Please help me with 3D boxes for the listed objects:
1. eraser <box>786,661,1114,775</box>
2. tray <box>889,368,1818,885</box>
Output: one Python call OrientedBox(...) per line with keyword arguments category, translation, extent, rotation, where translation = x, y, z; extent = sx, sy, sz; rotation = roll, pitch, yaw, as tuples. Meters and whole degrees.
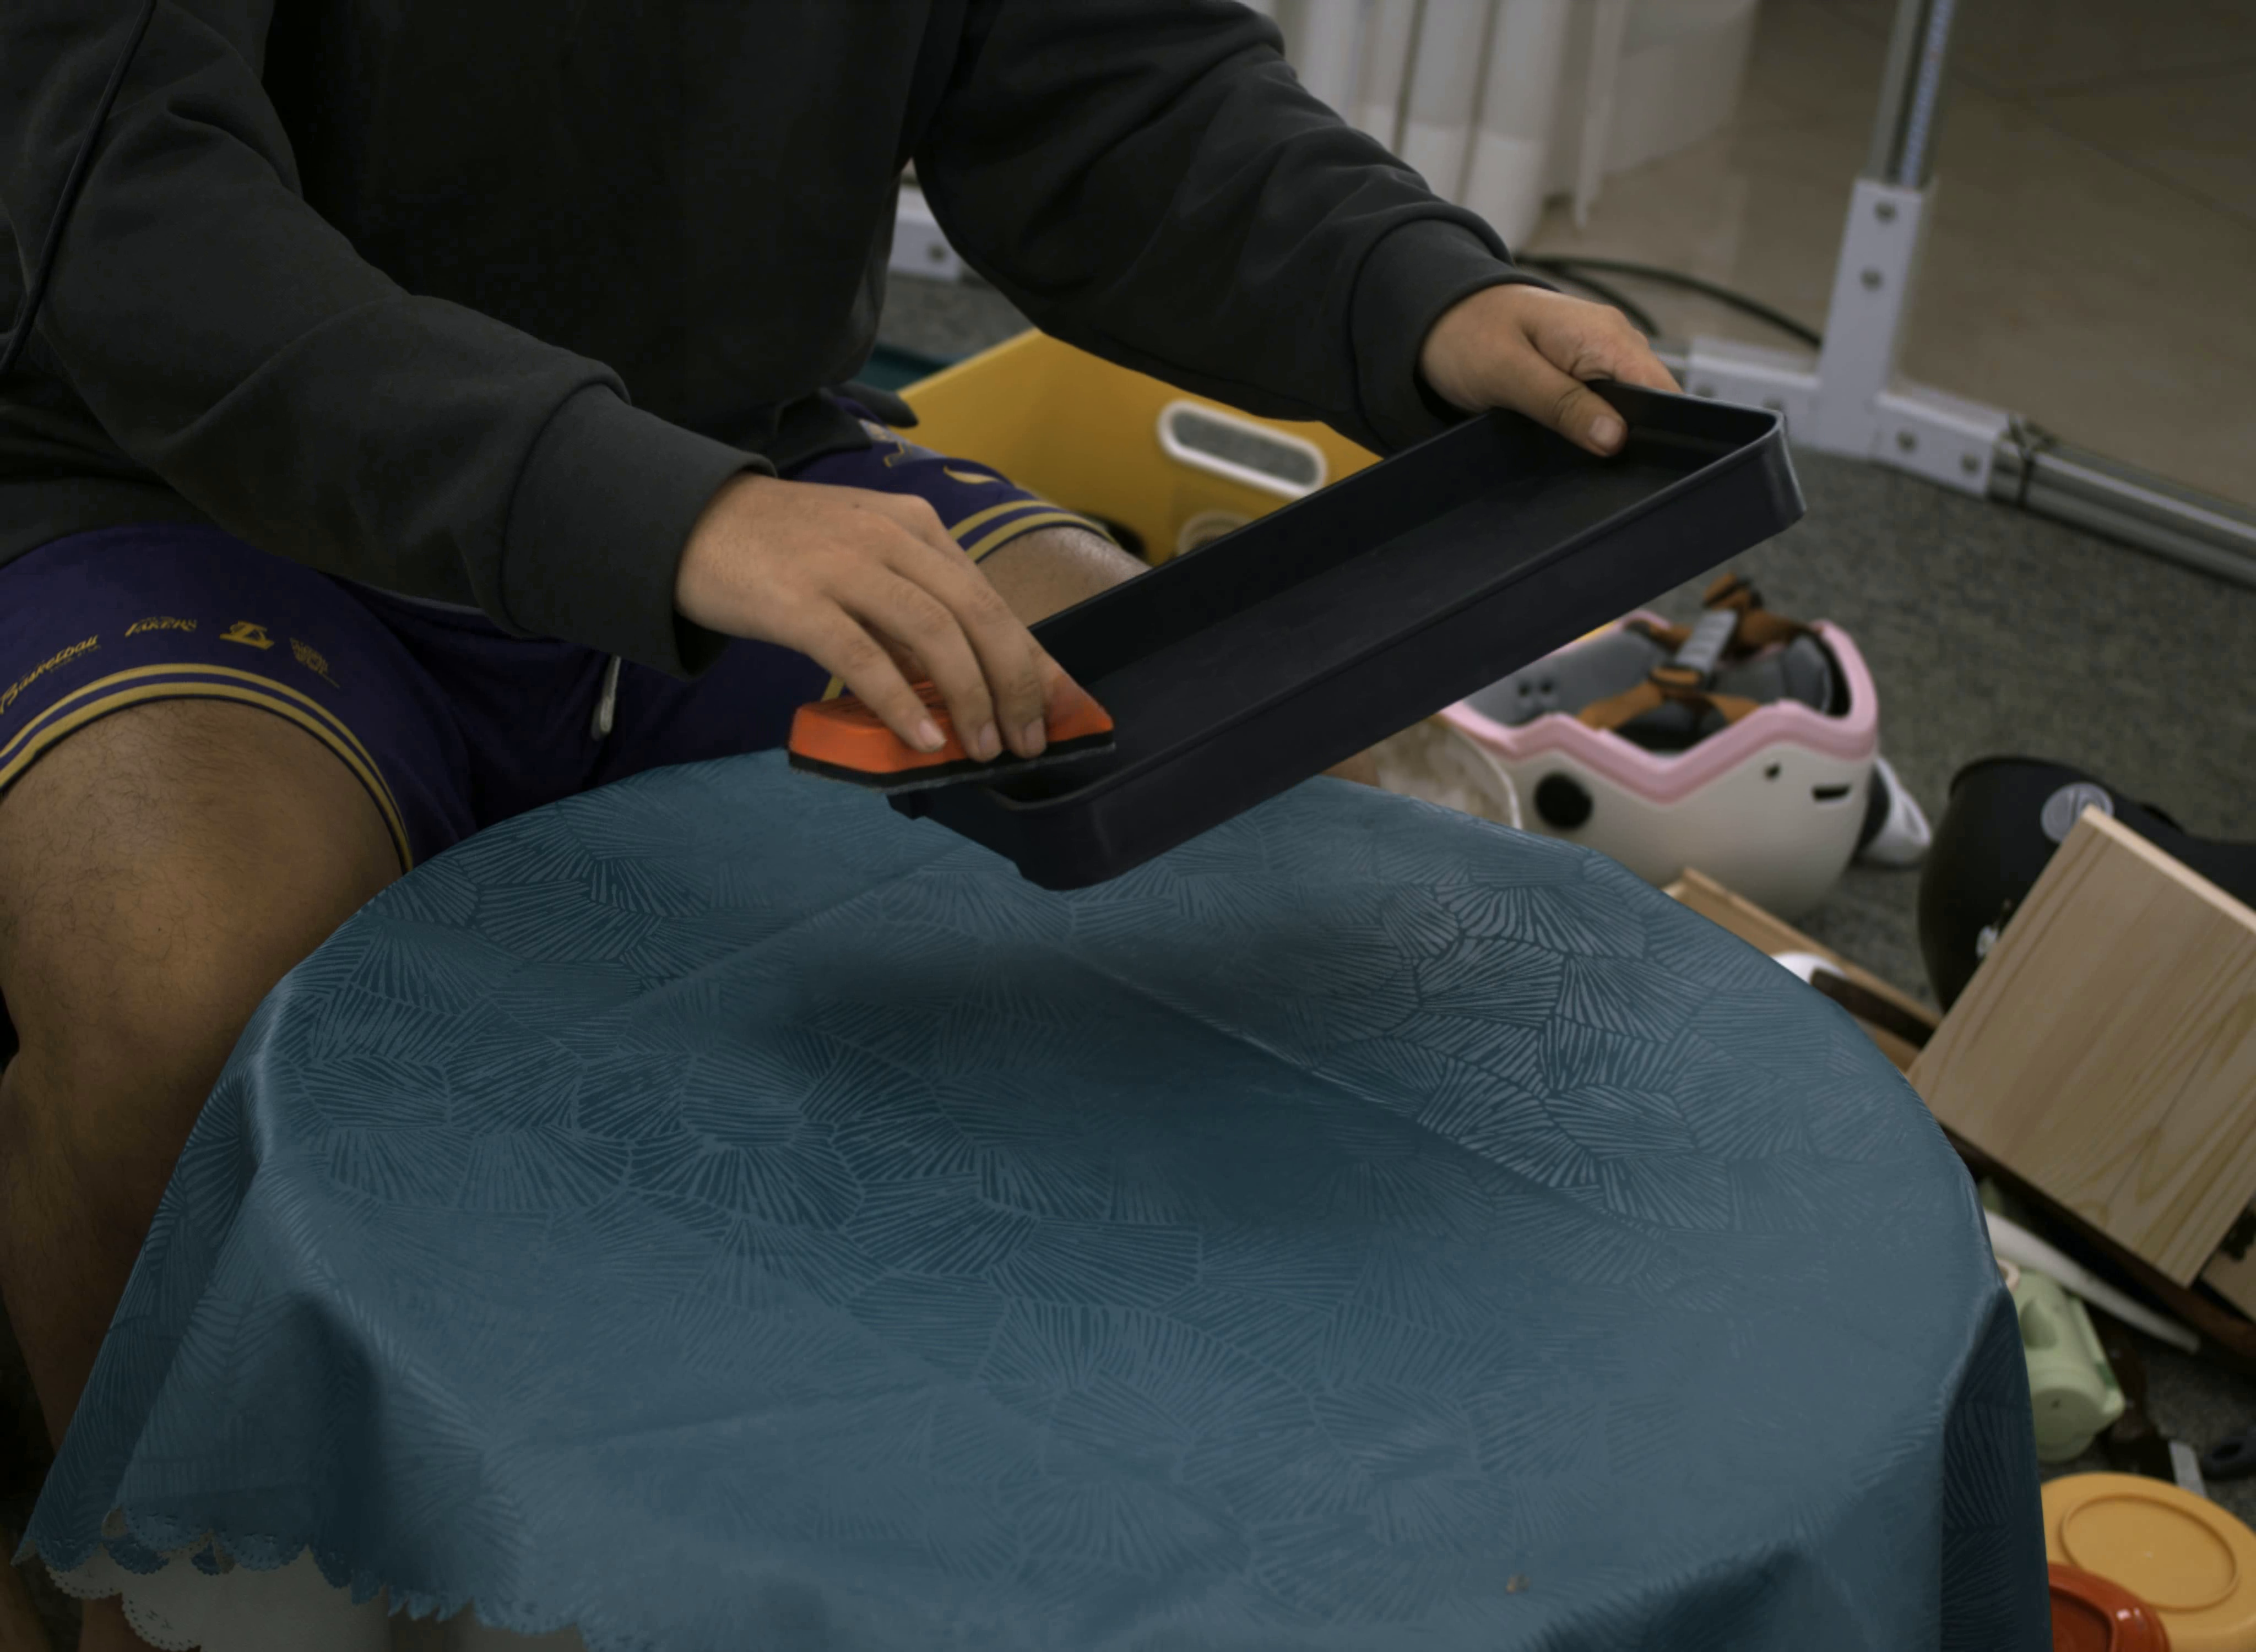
OrientedBox(category="eraser", translation=(-0.061, -0.037, 1.831), extent=(0.107, 0.023, 0.059), rotation=(-13, 8, -37))
OrientedBox(category="tray", translation=(0.076, -0.075, 1.882), extent=(0.317, 0.037, 0.185), rotation=(-28, 19, -18))
